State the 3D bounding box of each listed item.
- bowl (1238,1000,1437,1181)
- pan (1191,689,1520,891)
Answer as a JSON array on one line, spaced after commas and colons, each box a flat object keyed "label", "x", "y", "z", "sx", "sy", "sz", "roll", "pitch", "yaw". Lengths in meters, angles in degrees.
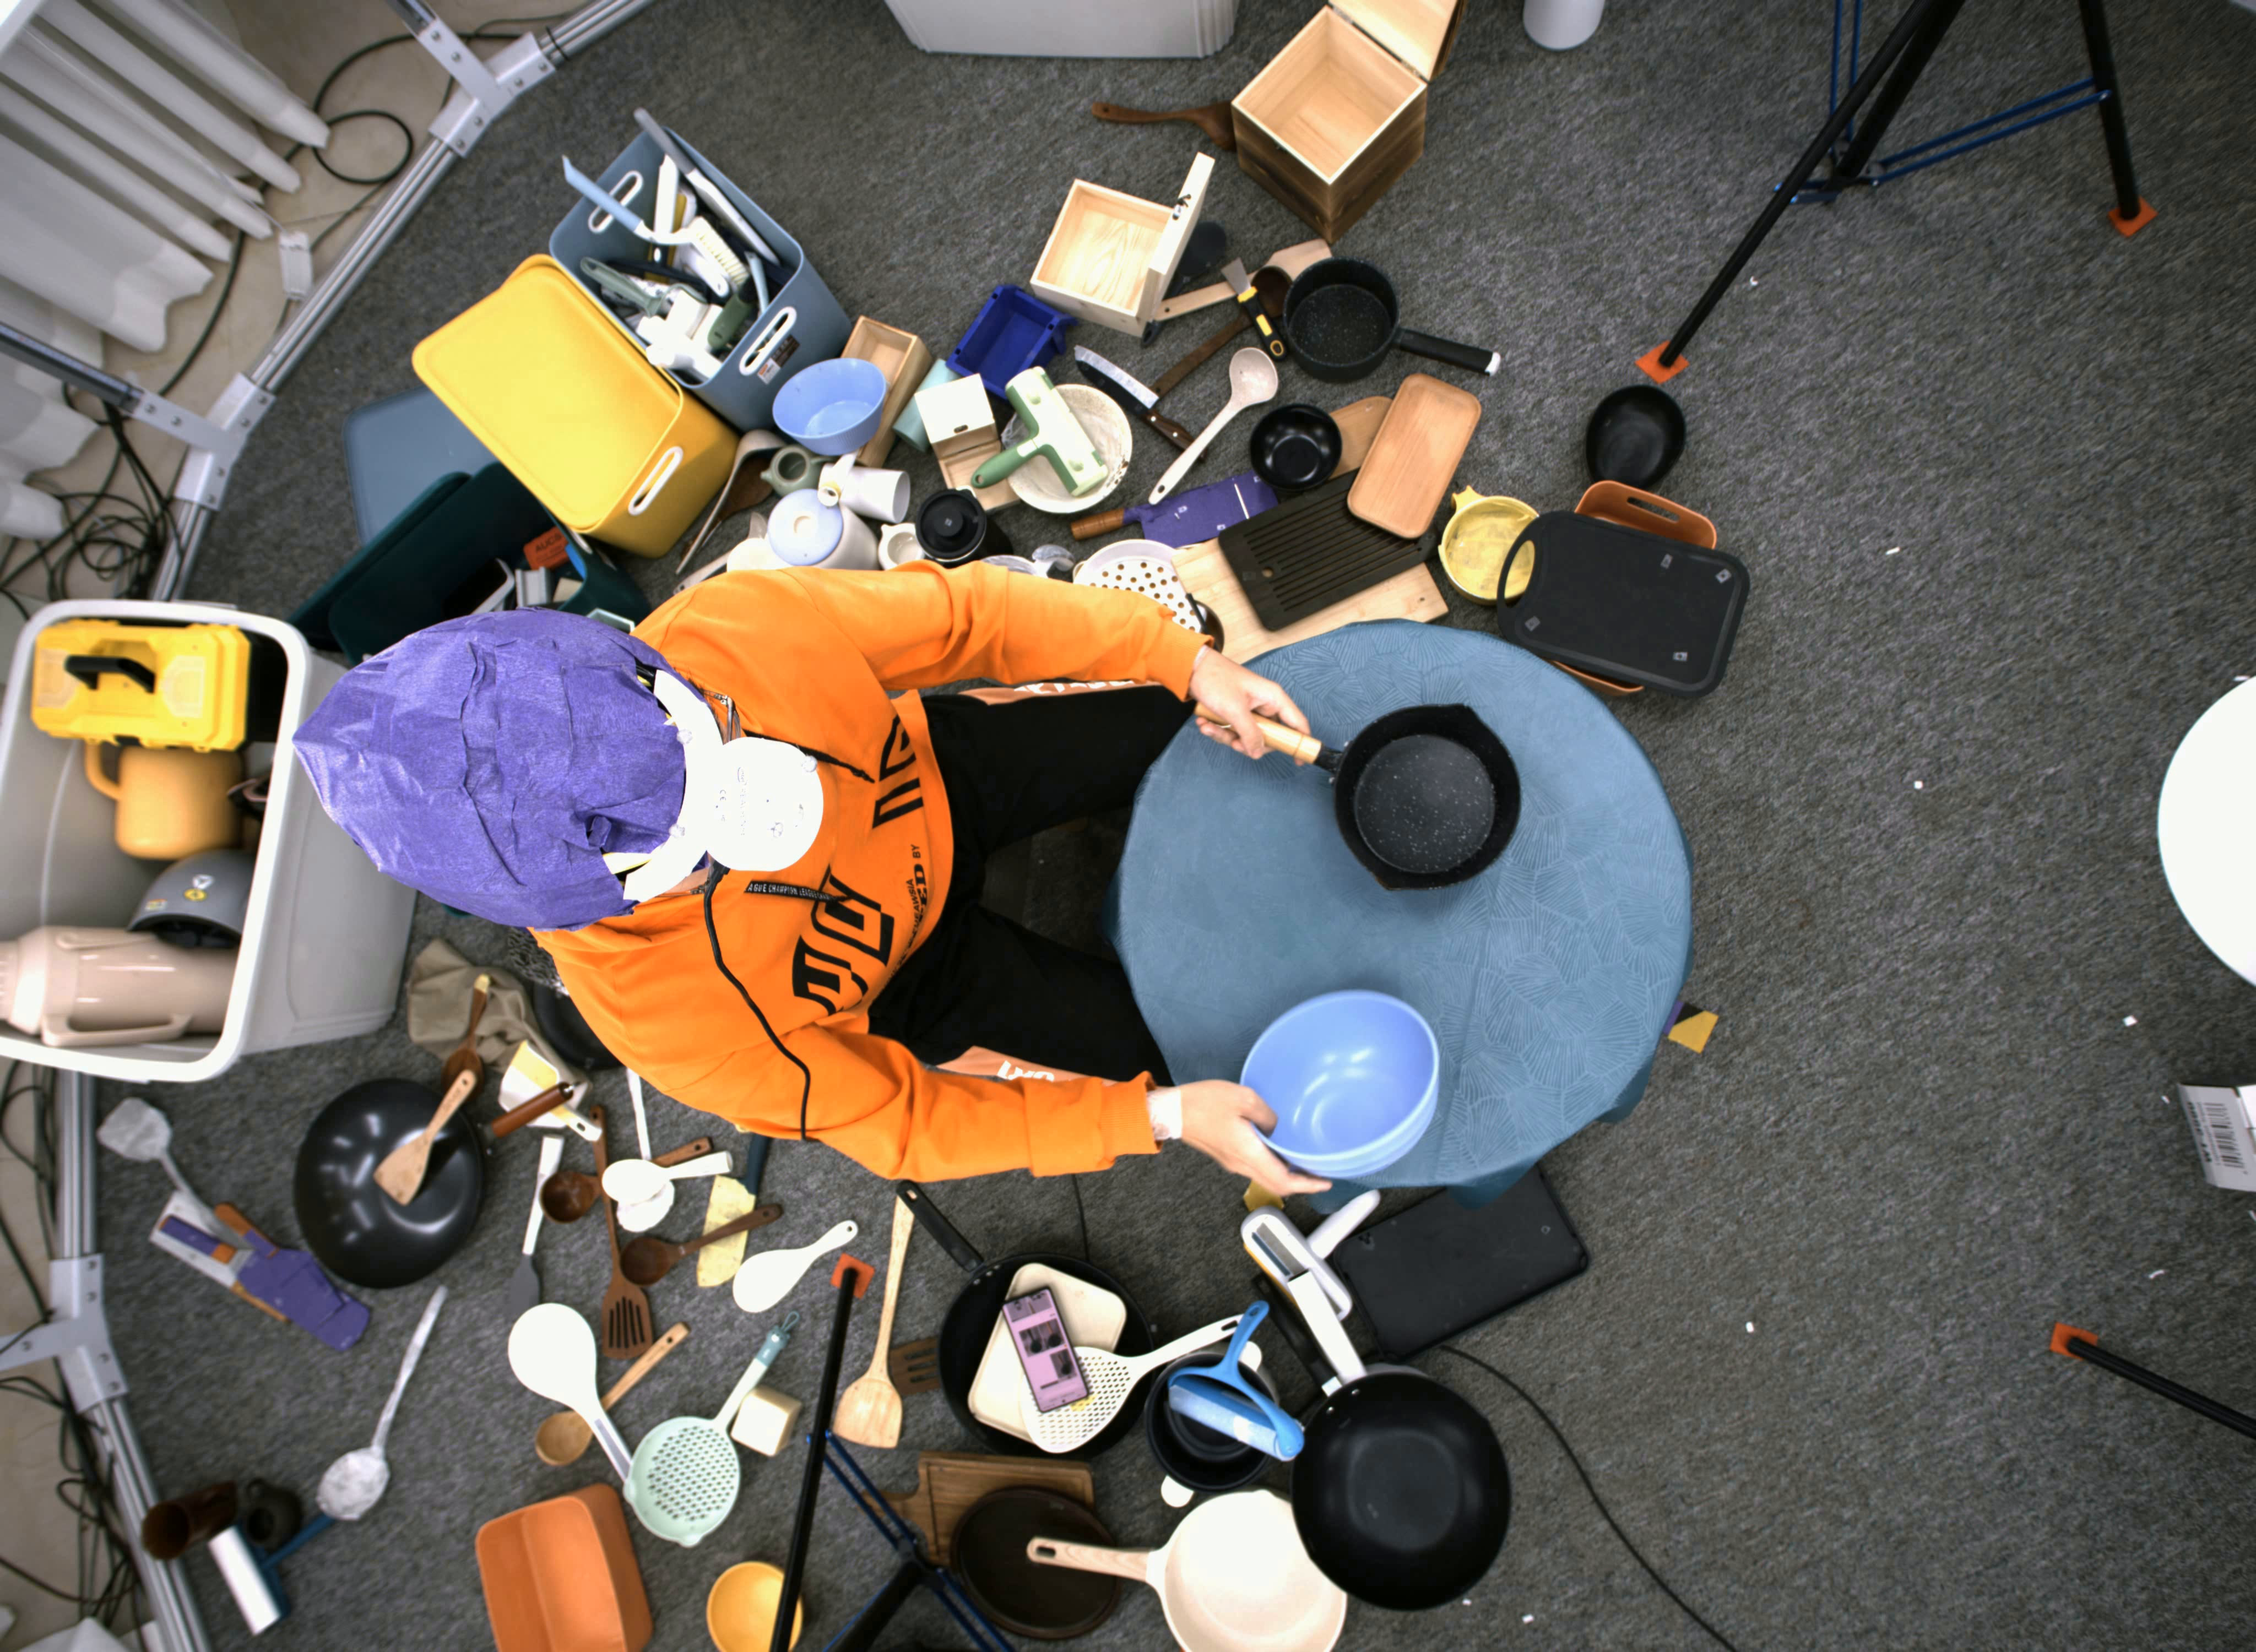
[{"label": "bowl", "x": 0.215, "y": 0.271, "z": 1.350, "sx": 0.197, "sy": 0.192, "sz": 0.097, "roll": -22, "pitch": 122, "yaw": 8}, {"label": "pan", "x": 0.225, "y": -0.058, "z": 1.401, "sx": 0.343, "sy": 0.108, "sz": 0.208, "roll": 22, "pitch": 94, "yaw": 10}]
